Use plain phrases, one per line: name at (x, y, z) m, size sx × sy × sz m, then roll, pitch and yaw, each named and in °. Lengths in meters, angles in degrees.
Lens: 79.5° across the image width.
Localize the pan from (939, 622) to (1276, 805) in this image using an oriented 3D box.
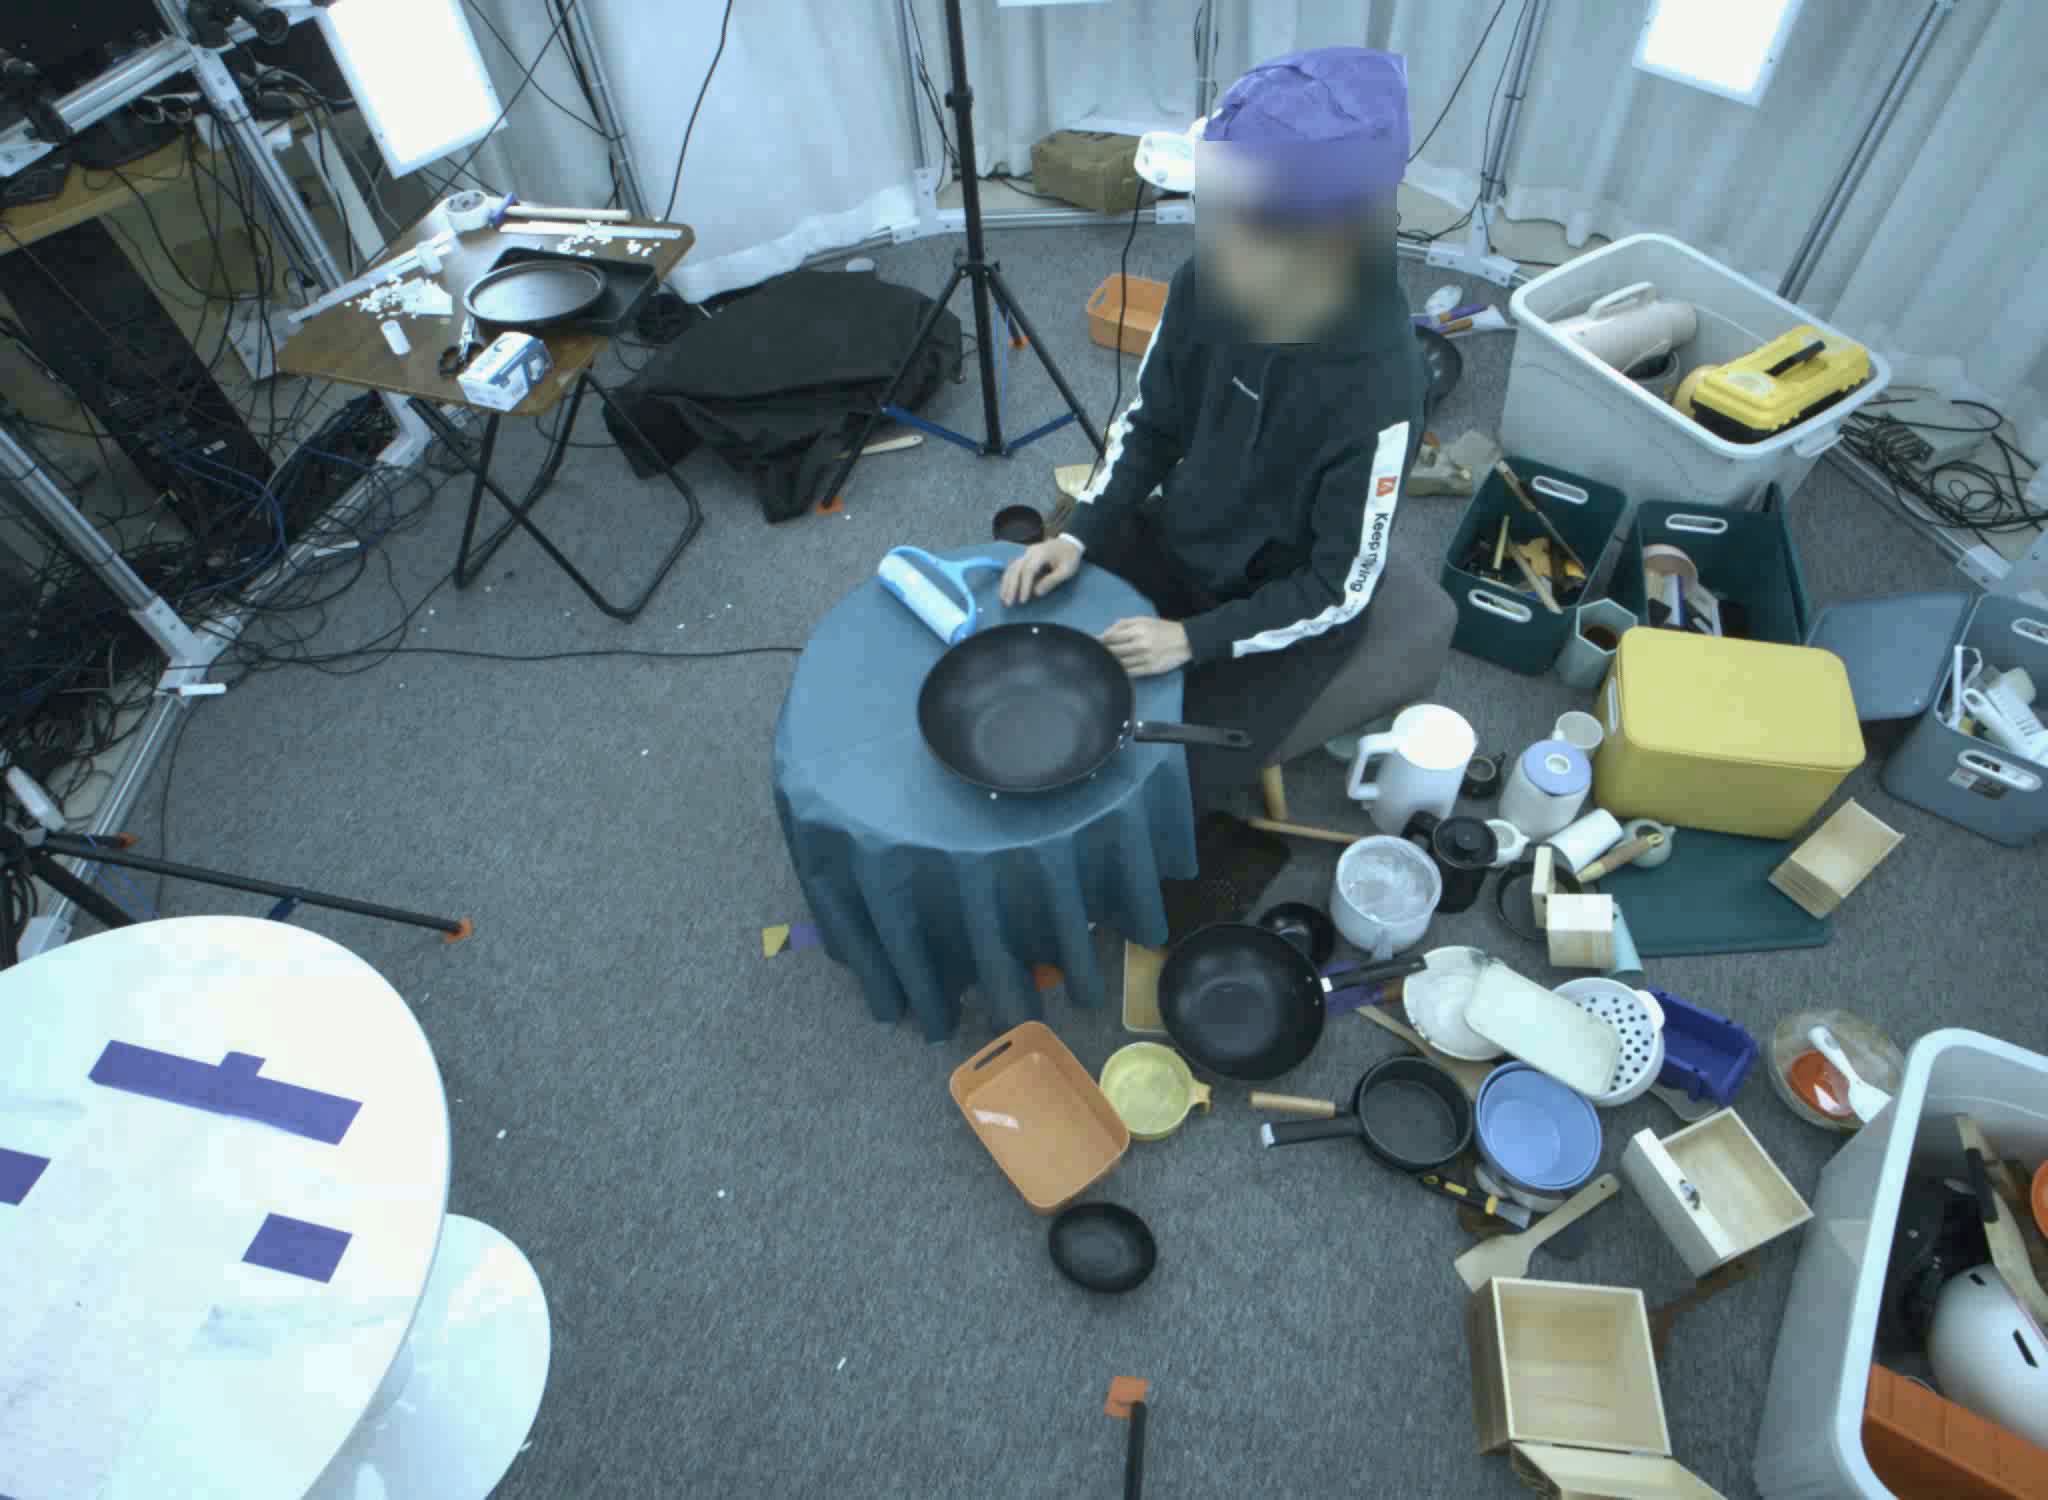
pan at (0.115, -0.025, 1.731) m, size 0.472 × 0.113 × 0.309 m, roll 15°, pitch 58°, yaw 13°

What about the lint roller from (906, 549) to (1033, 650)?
lint roller at (-0.064, -0.265, 1.939) m, size 0.181 × 0.069 × 0.224 m, roll -37°, pitch 59°, yaw -20°
